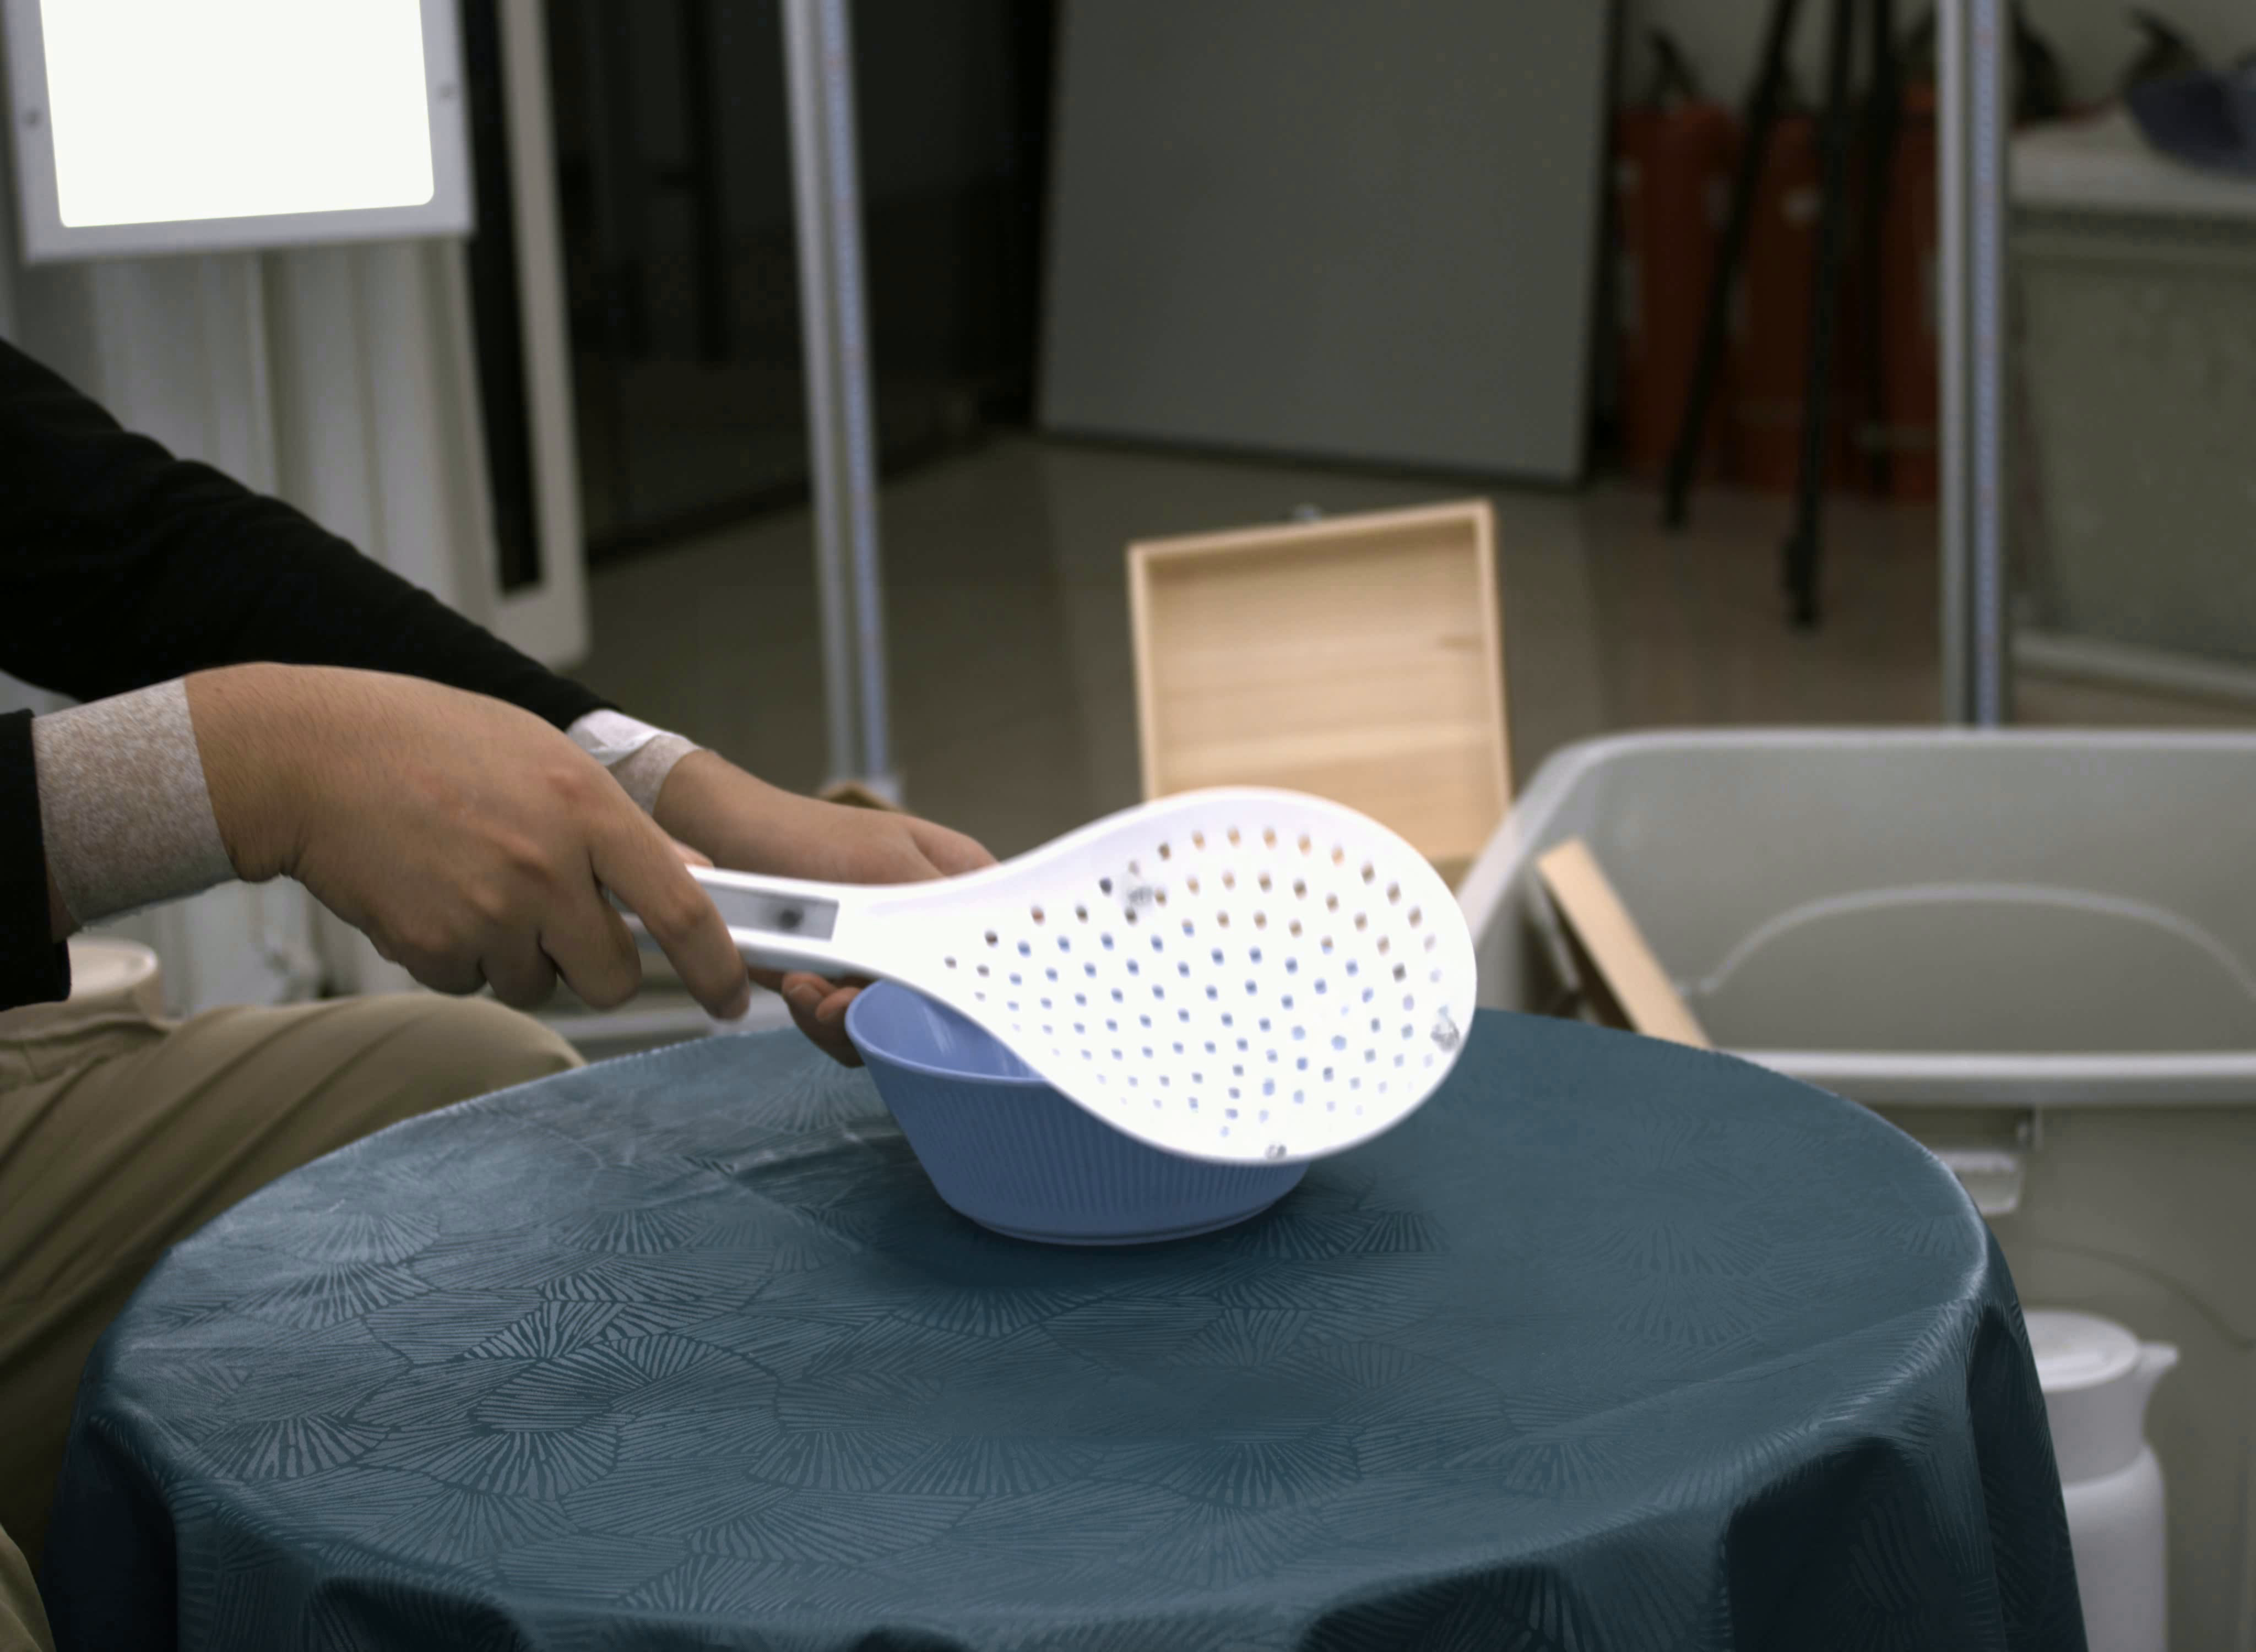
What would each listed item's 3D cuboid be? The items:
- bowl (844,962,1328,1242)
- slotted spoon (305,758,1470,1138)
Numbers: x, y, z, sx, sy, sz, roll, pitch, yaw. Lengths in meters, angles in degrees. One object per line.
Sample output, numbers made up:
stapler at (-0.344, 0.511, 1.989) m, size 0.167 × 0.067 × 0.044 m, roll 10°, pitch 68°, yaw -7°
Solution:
bowl at (-0.004, 0.087, 1.759) m, size 0.174 × 0.071 × 0.176 m, roll -4°, pitch 13°, yaw 0°
slotted spoon at (-0.072, 0.028, 1.600) m, size 0.346 × 0.046 × 0.137 m, roll 9°, pitch 53°, yaw 2°
